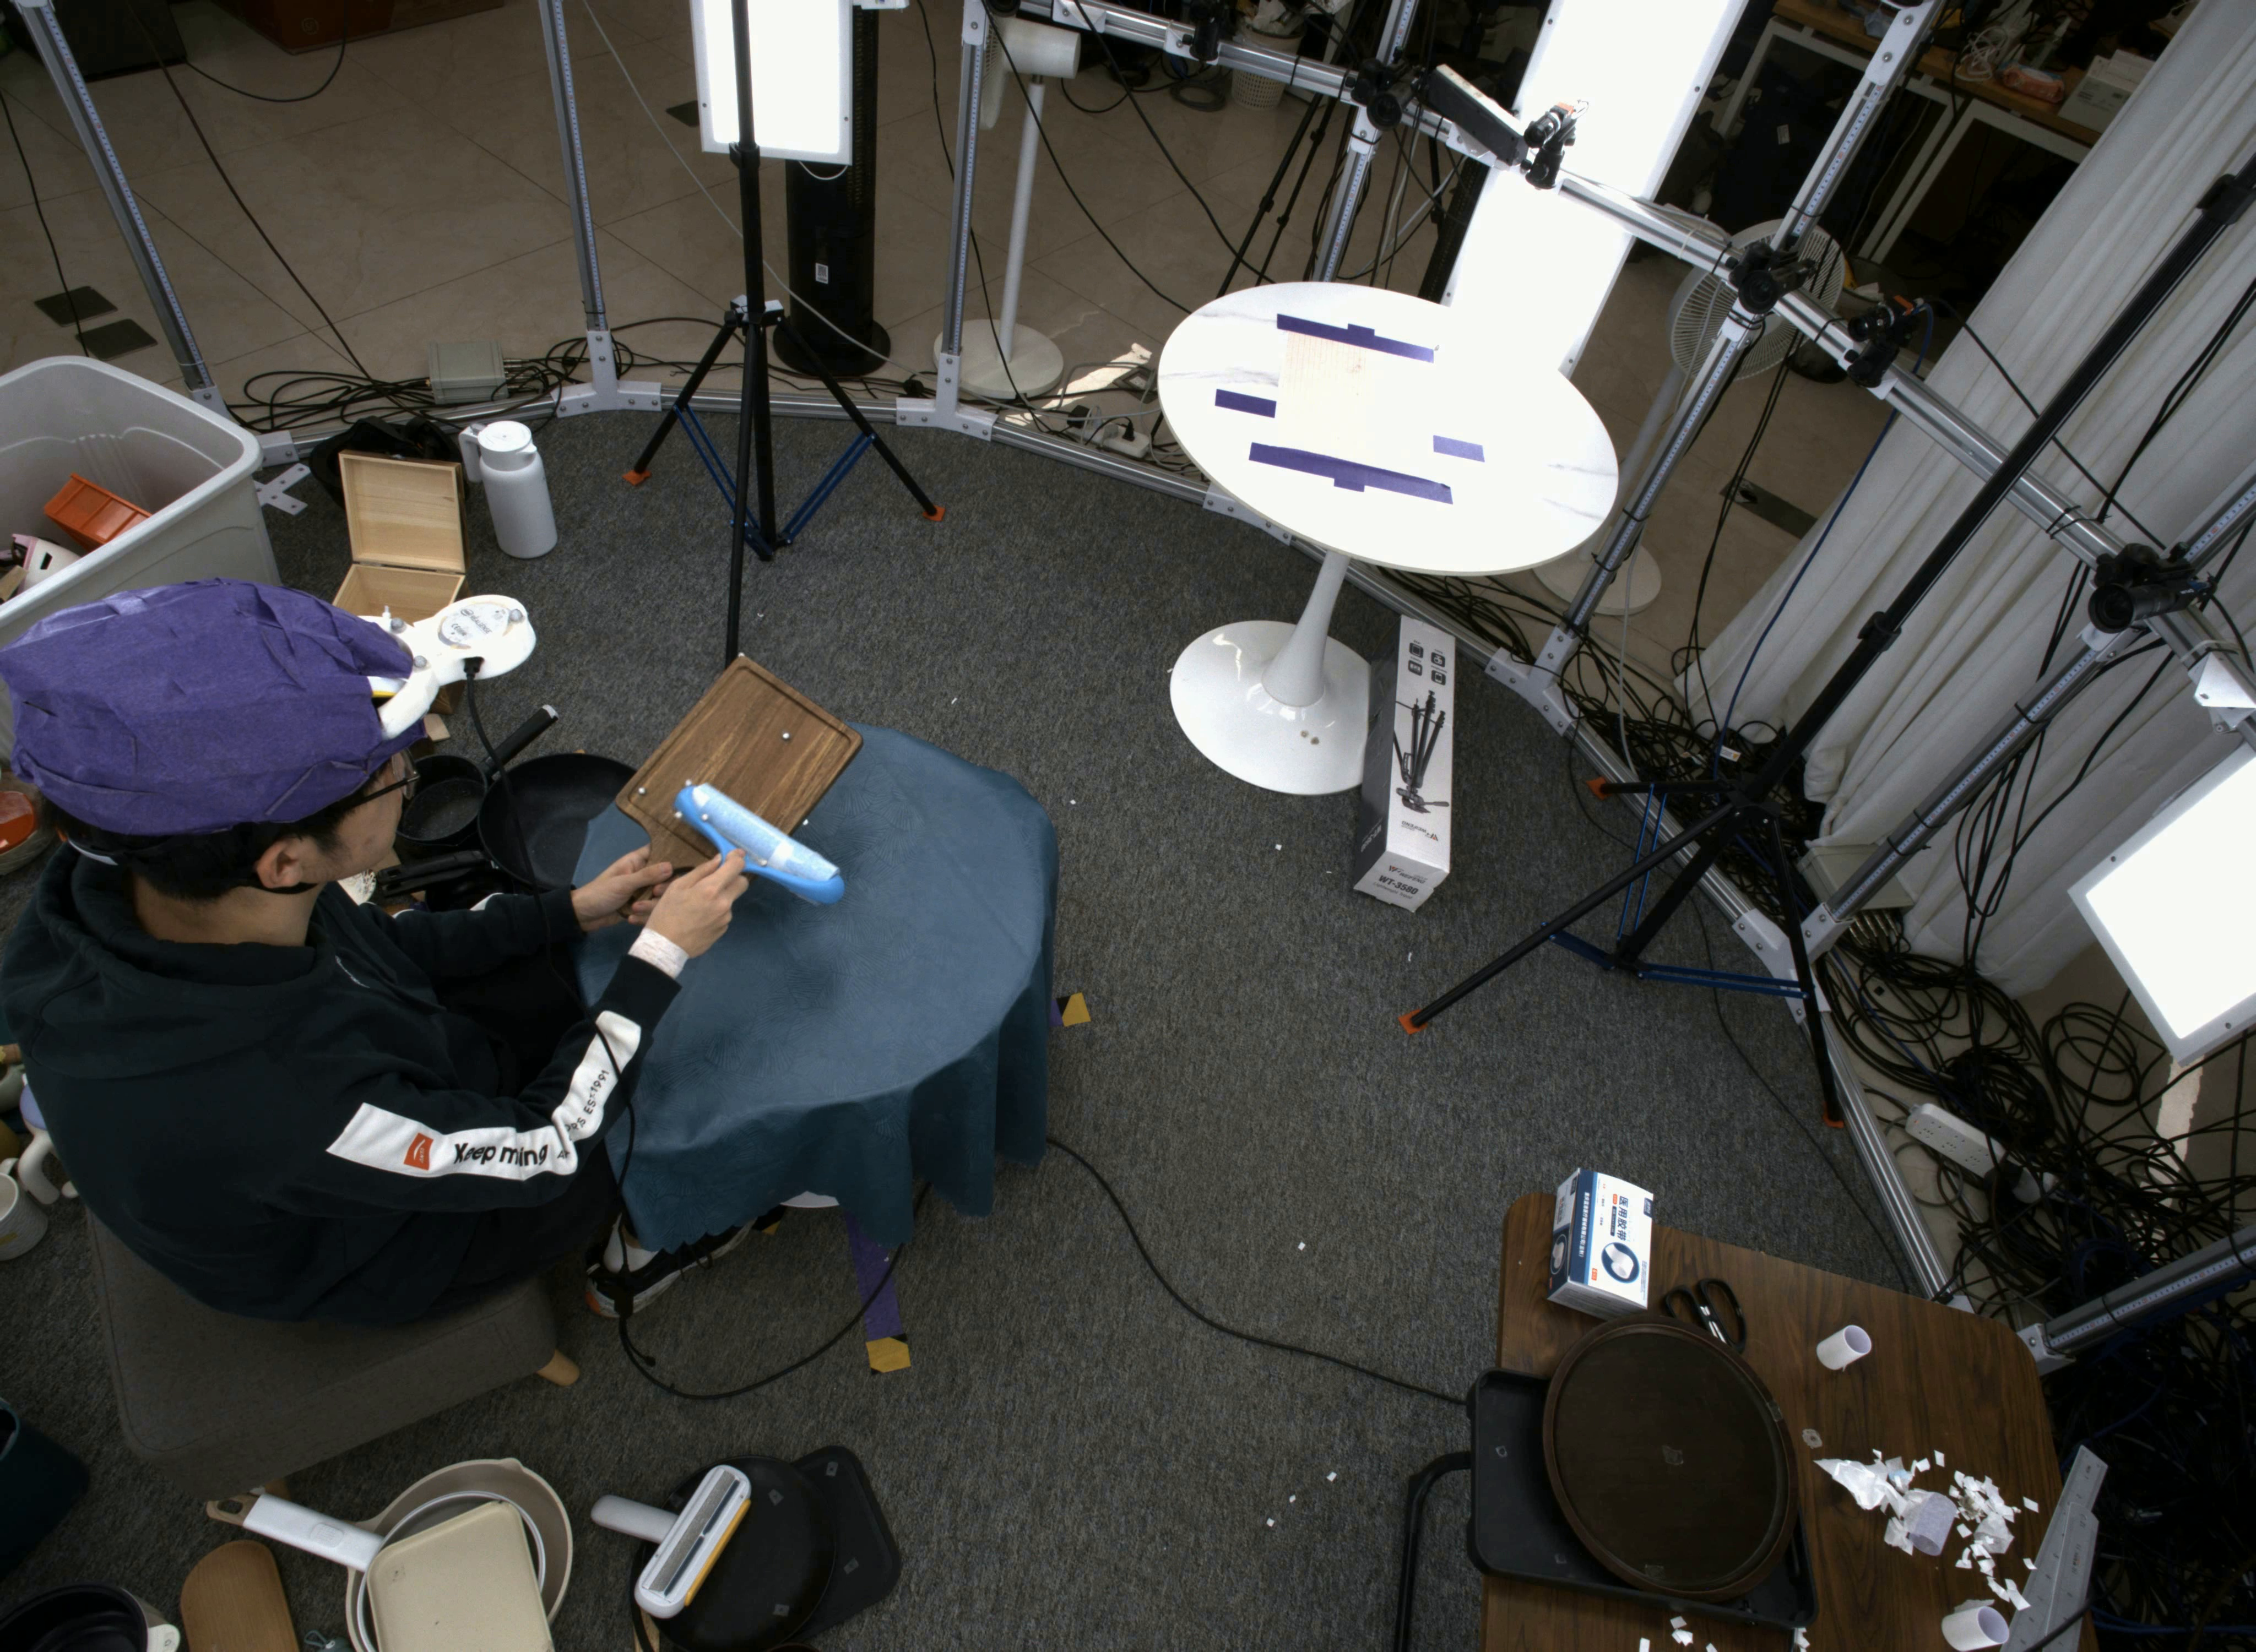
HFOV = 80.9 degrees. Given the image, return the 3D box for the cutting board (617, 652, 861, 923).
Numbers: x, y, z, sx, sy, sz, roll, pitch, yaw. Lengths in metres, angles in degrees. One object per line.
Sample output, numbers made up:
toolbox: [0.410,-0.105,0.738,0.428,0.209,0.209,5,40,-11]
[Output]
cutting board: [-0.506,-0.032,1.577,0.200,0.023,0.352,34,71,1]

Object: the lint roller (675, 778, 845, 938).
lint roller: [-0.456,0.051,1.498,0.229,0.068,0.178,33,44,-6]
